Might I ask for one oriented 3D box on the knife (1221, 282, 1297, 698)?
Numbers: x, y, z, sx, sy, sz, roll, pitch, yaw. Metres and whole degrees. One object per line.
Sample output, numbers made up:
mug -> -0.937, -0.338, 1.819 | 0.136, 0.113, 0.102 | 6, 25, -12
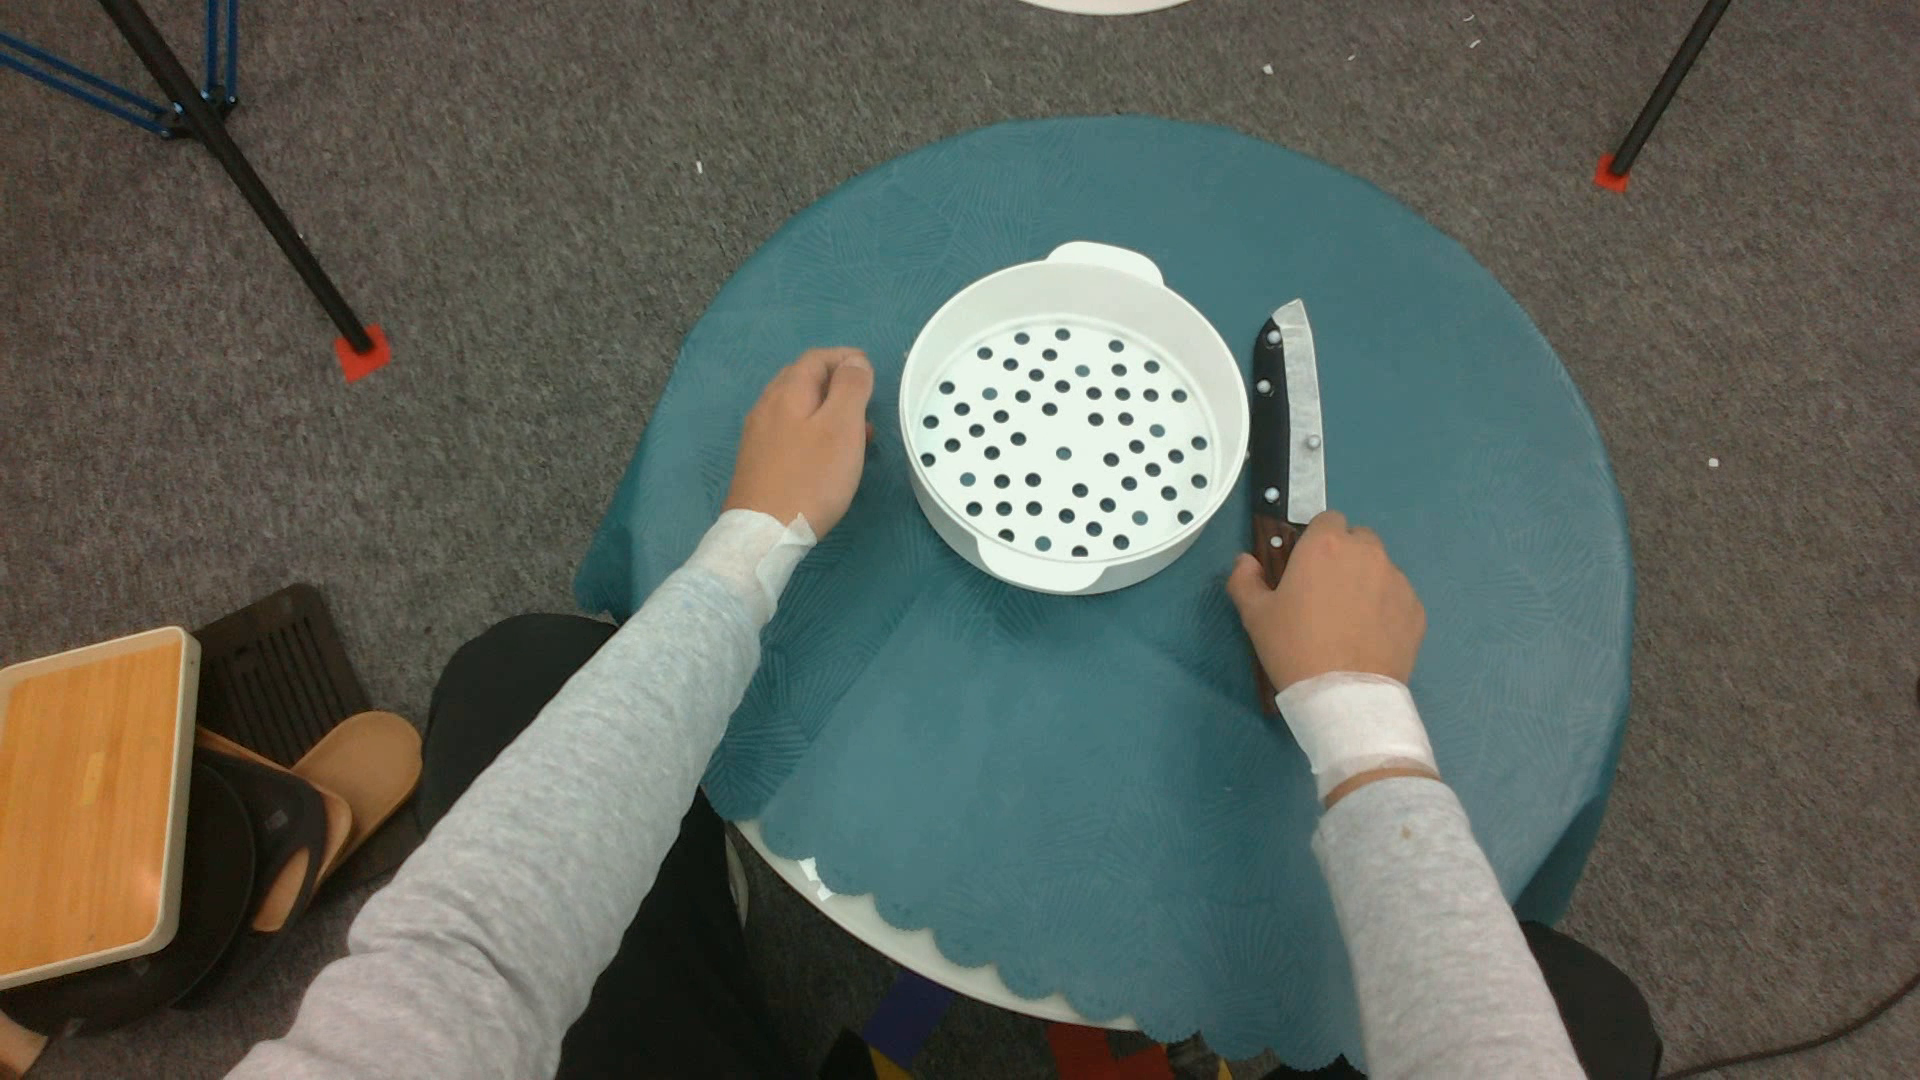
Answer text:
knife -> 0.180, -0.040, 0.832 | 0.050, 0.020, 0.290 | 9, 63, -3

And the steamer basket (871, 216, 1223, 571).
steamer basket -> 0.049, -0.079, 0.813 | 0.202, 0.069, 0.231 | 12, 67, 3
